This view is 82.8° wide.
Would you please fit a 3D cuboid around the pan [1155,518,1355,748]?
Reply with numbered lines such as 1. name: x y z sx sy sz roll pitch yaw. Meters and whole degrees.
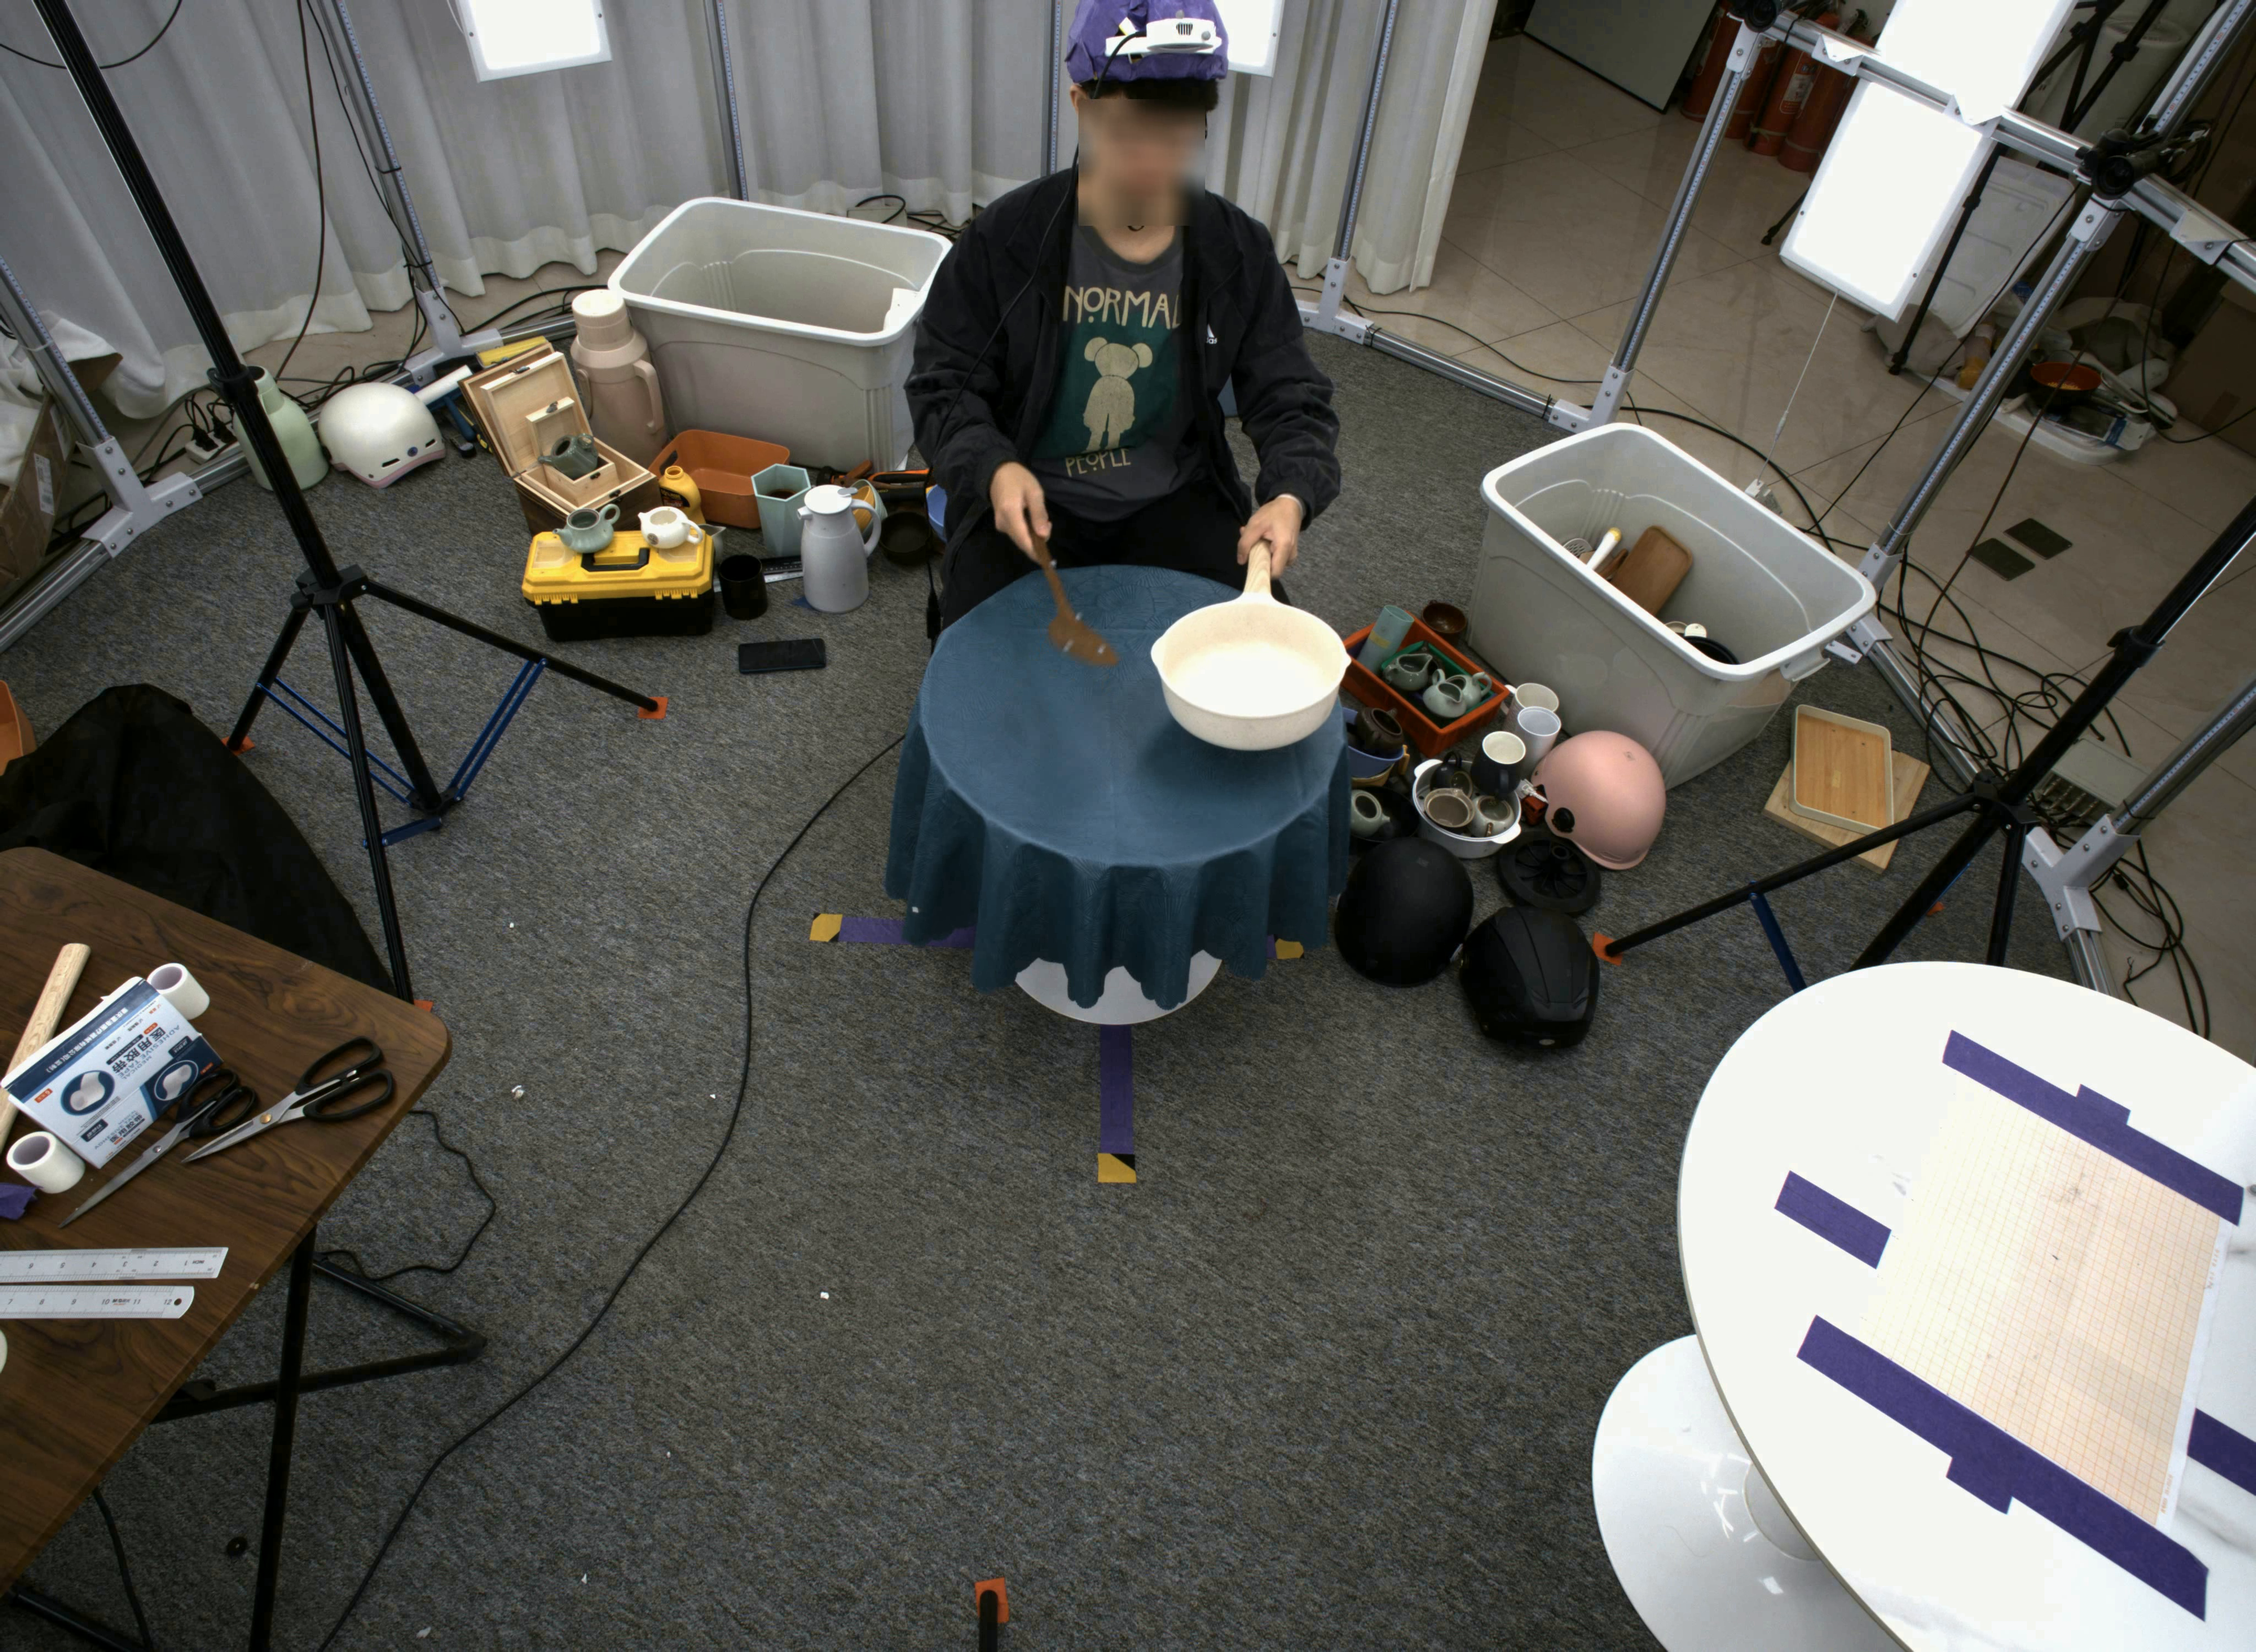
1. pan: 0.180 -0.269 1.781 0.263 0.099 0.445 2 43 8

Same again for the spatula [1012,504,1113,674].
1. spatula: -0.107 -0.334 1.764 0.095 0.015 0.395 8 41 -28
